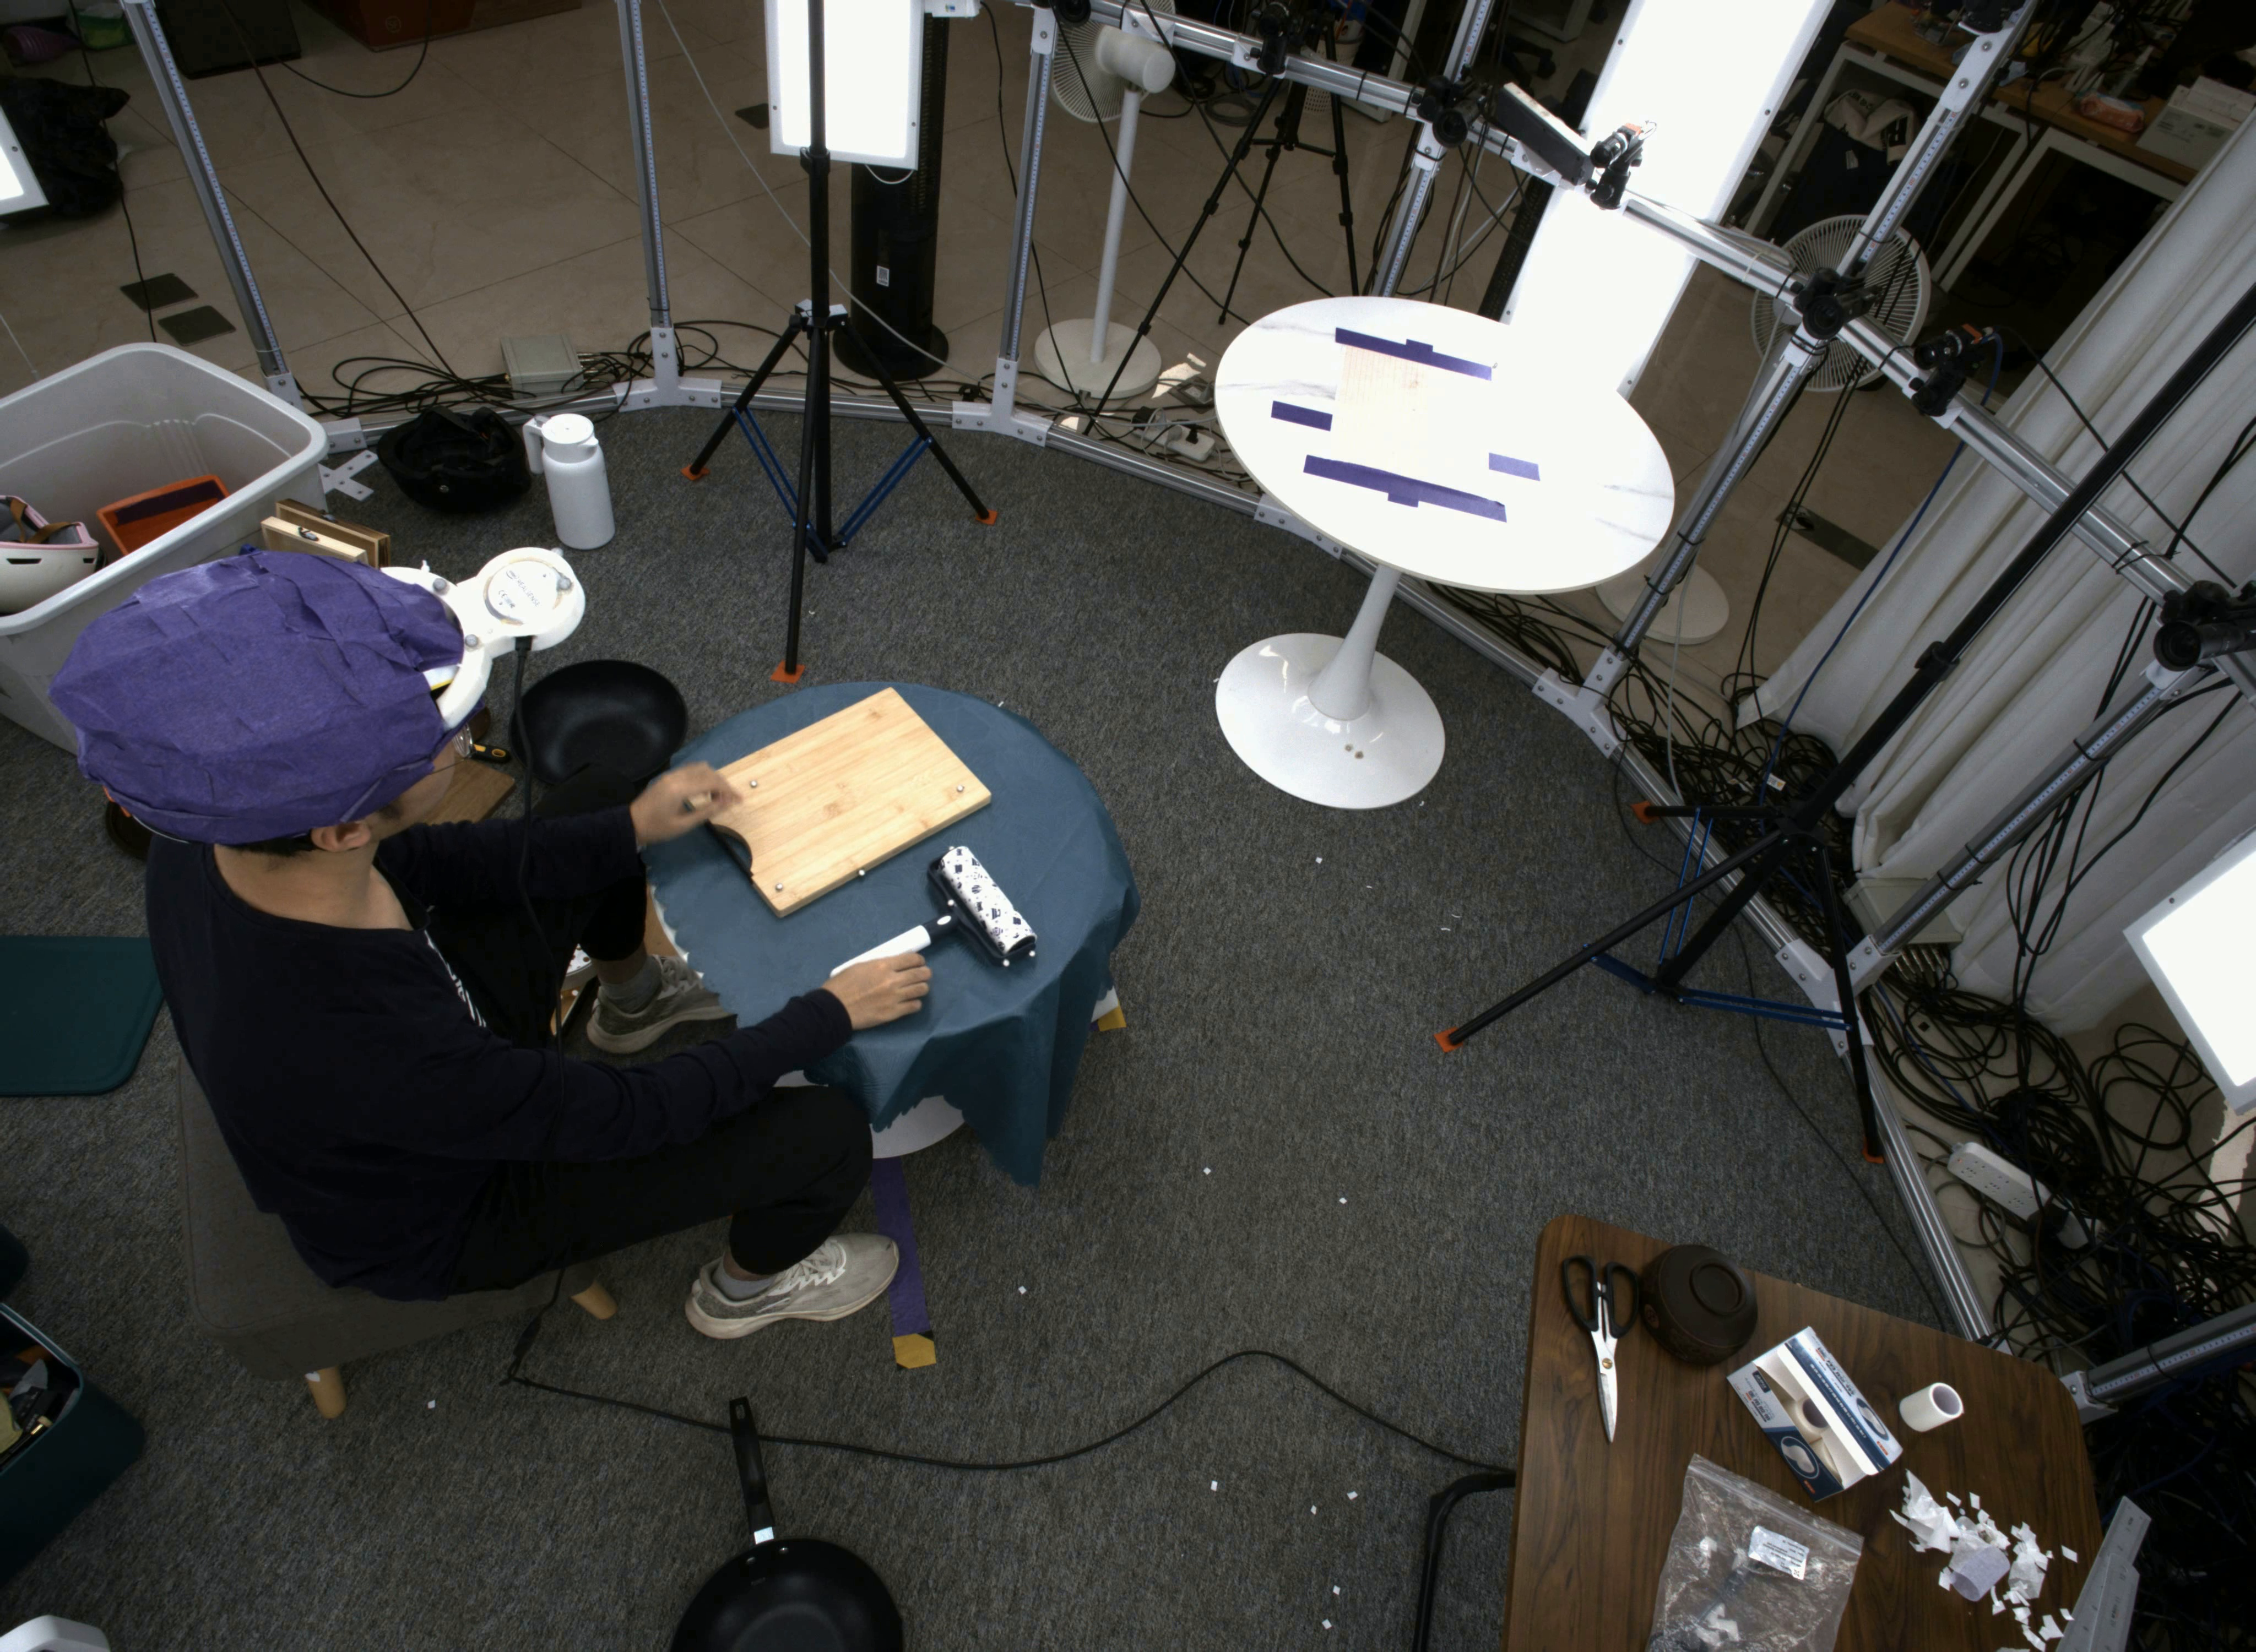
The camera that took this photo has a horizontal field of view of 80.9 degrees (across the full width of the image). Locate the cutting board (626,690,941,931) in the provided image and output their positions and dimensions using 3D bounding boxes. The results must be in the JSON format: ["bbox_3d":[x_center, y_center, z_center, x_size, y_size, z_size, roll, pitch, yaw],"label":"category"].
[{"bbox_3d":[-0.457,-0.032,1.740,0.245,0.024,0.349,43,56,18],"label":"cutting board"}]

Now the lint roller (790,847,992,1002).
[{"bbox_3d":[-0.314,0.143,1.631,0.248,0.051,0.172,-32,68,-29],"label":"lint roller"}]
